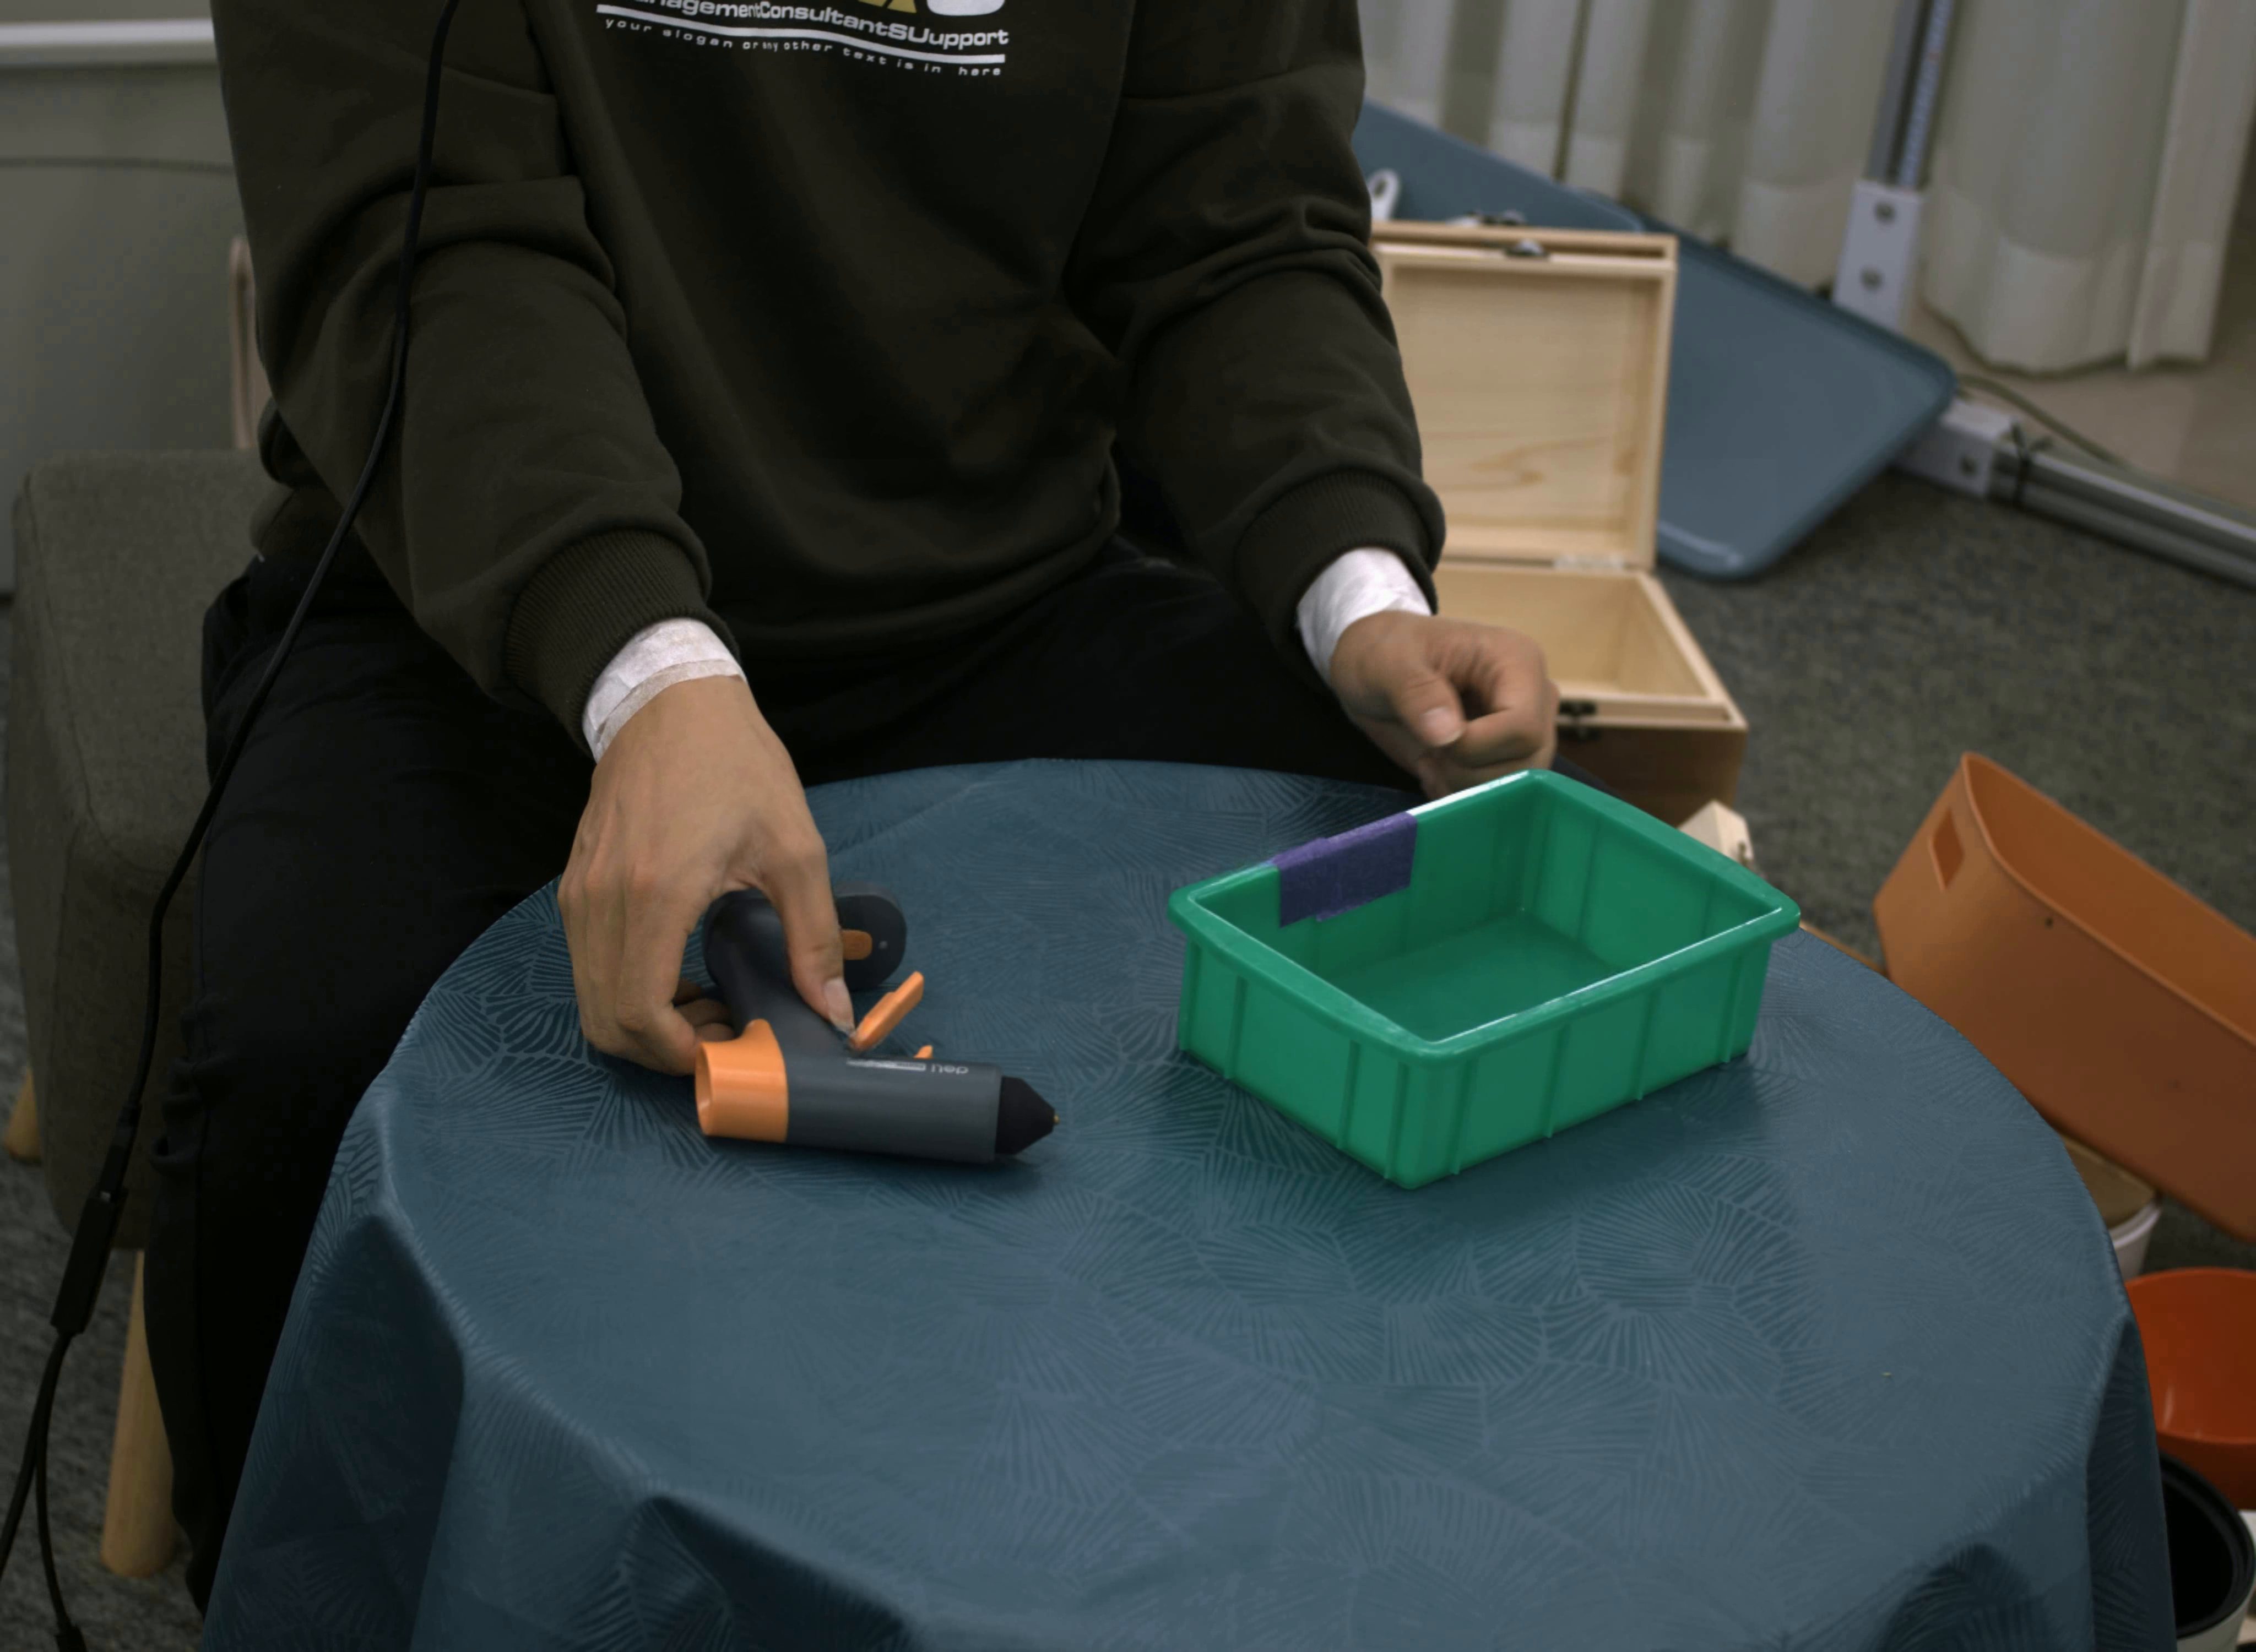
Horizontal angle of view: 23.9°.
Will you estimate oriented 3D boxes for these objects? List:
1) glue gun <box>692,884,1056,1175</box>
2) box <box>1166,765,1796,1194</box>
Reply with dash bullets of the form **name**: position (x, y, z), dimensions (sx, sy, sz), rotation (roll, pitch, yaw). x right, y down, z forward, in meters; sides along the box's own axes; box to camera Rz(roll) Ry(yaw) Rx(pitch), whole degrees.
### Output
- **glue gun**: position (-0.096, 0.074, 1.851), dimensions (0.117, 0.041, 0.141), rotation (3, 29, -19)
- **box**: position (0.124, 0.055, 1.906), dimensions (0.209, 0.065, 0.140), rotation (-21, 37, -39)
